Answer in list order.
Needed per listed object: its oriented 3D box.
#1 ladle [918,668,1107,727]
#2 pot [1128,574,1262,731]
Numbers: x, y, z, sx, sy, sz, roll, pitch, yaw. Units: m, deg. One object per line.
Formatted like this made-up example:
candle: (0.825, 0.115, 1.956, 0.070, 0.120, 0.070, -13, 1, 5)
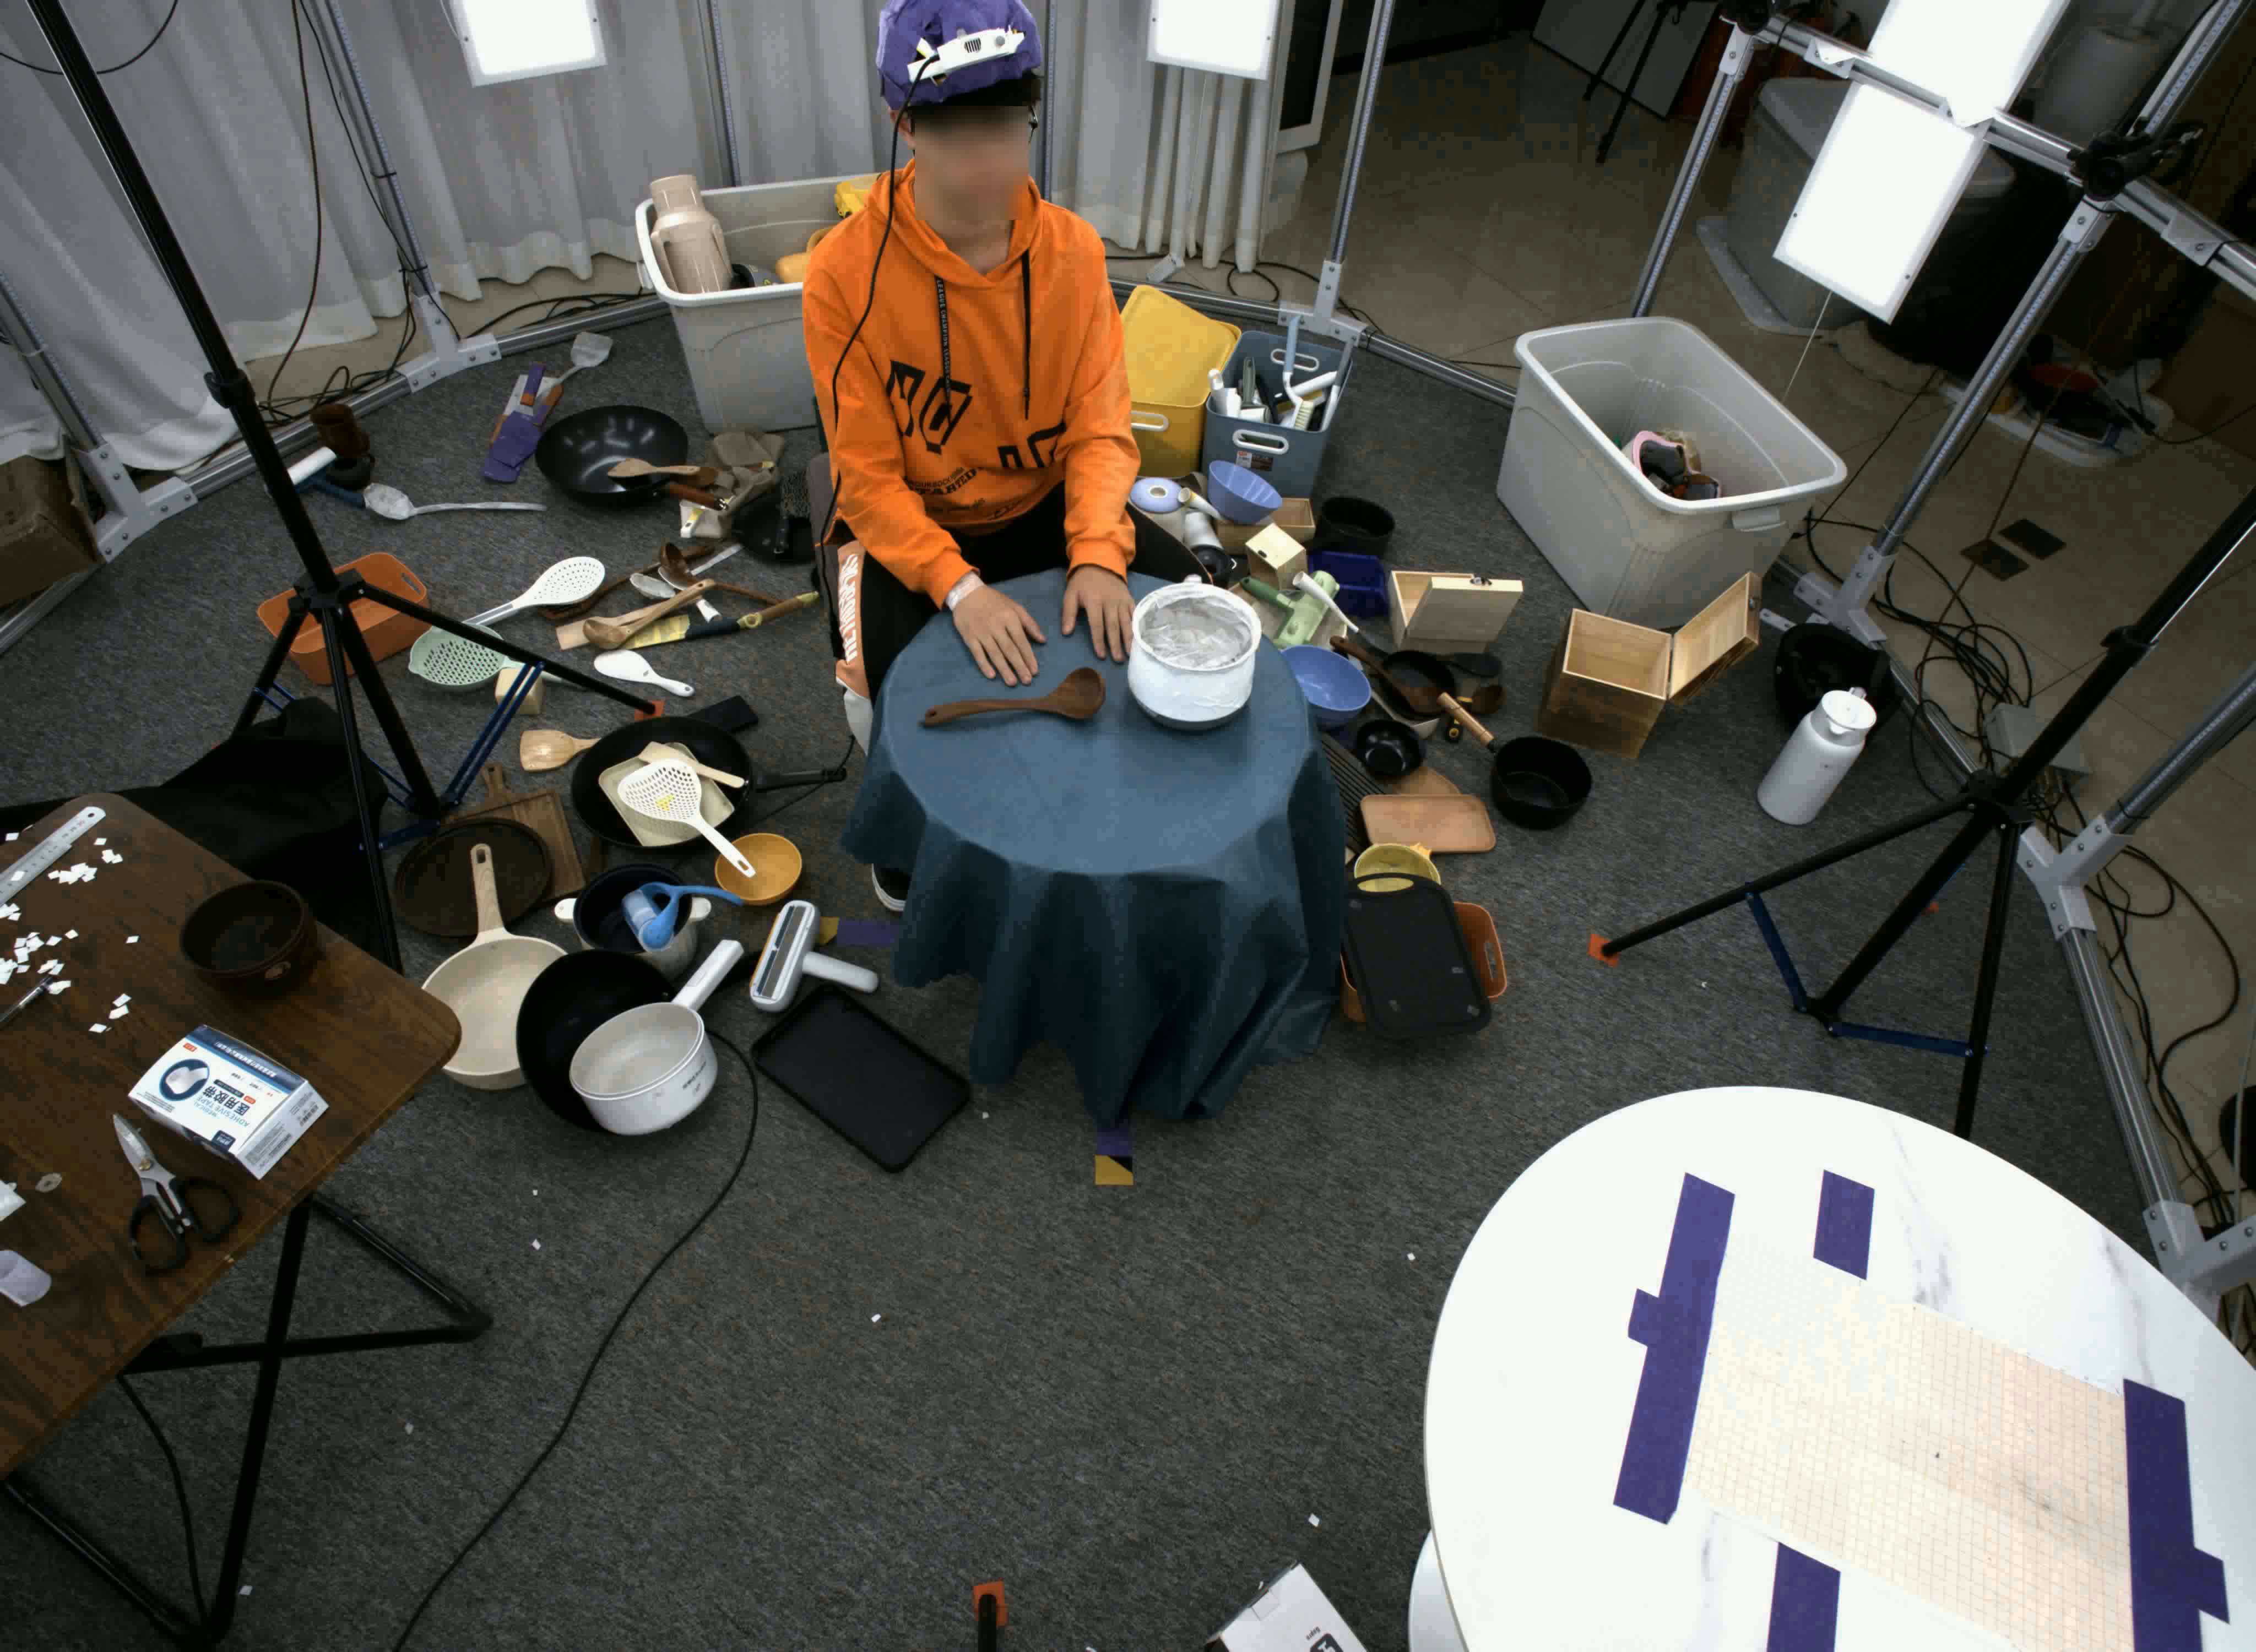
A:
ladle: (-0.158, -0.172, 1.767, 0.260, 0.063, 0.078, -6, 58, -9)
pot: (0.089, -0.253, 1.806, 0.178, 0.133, 0.239, 1, 49, -3)
